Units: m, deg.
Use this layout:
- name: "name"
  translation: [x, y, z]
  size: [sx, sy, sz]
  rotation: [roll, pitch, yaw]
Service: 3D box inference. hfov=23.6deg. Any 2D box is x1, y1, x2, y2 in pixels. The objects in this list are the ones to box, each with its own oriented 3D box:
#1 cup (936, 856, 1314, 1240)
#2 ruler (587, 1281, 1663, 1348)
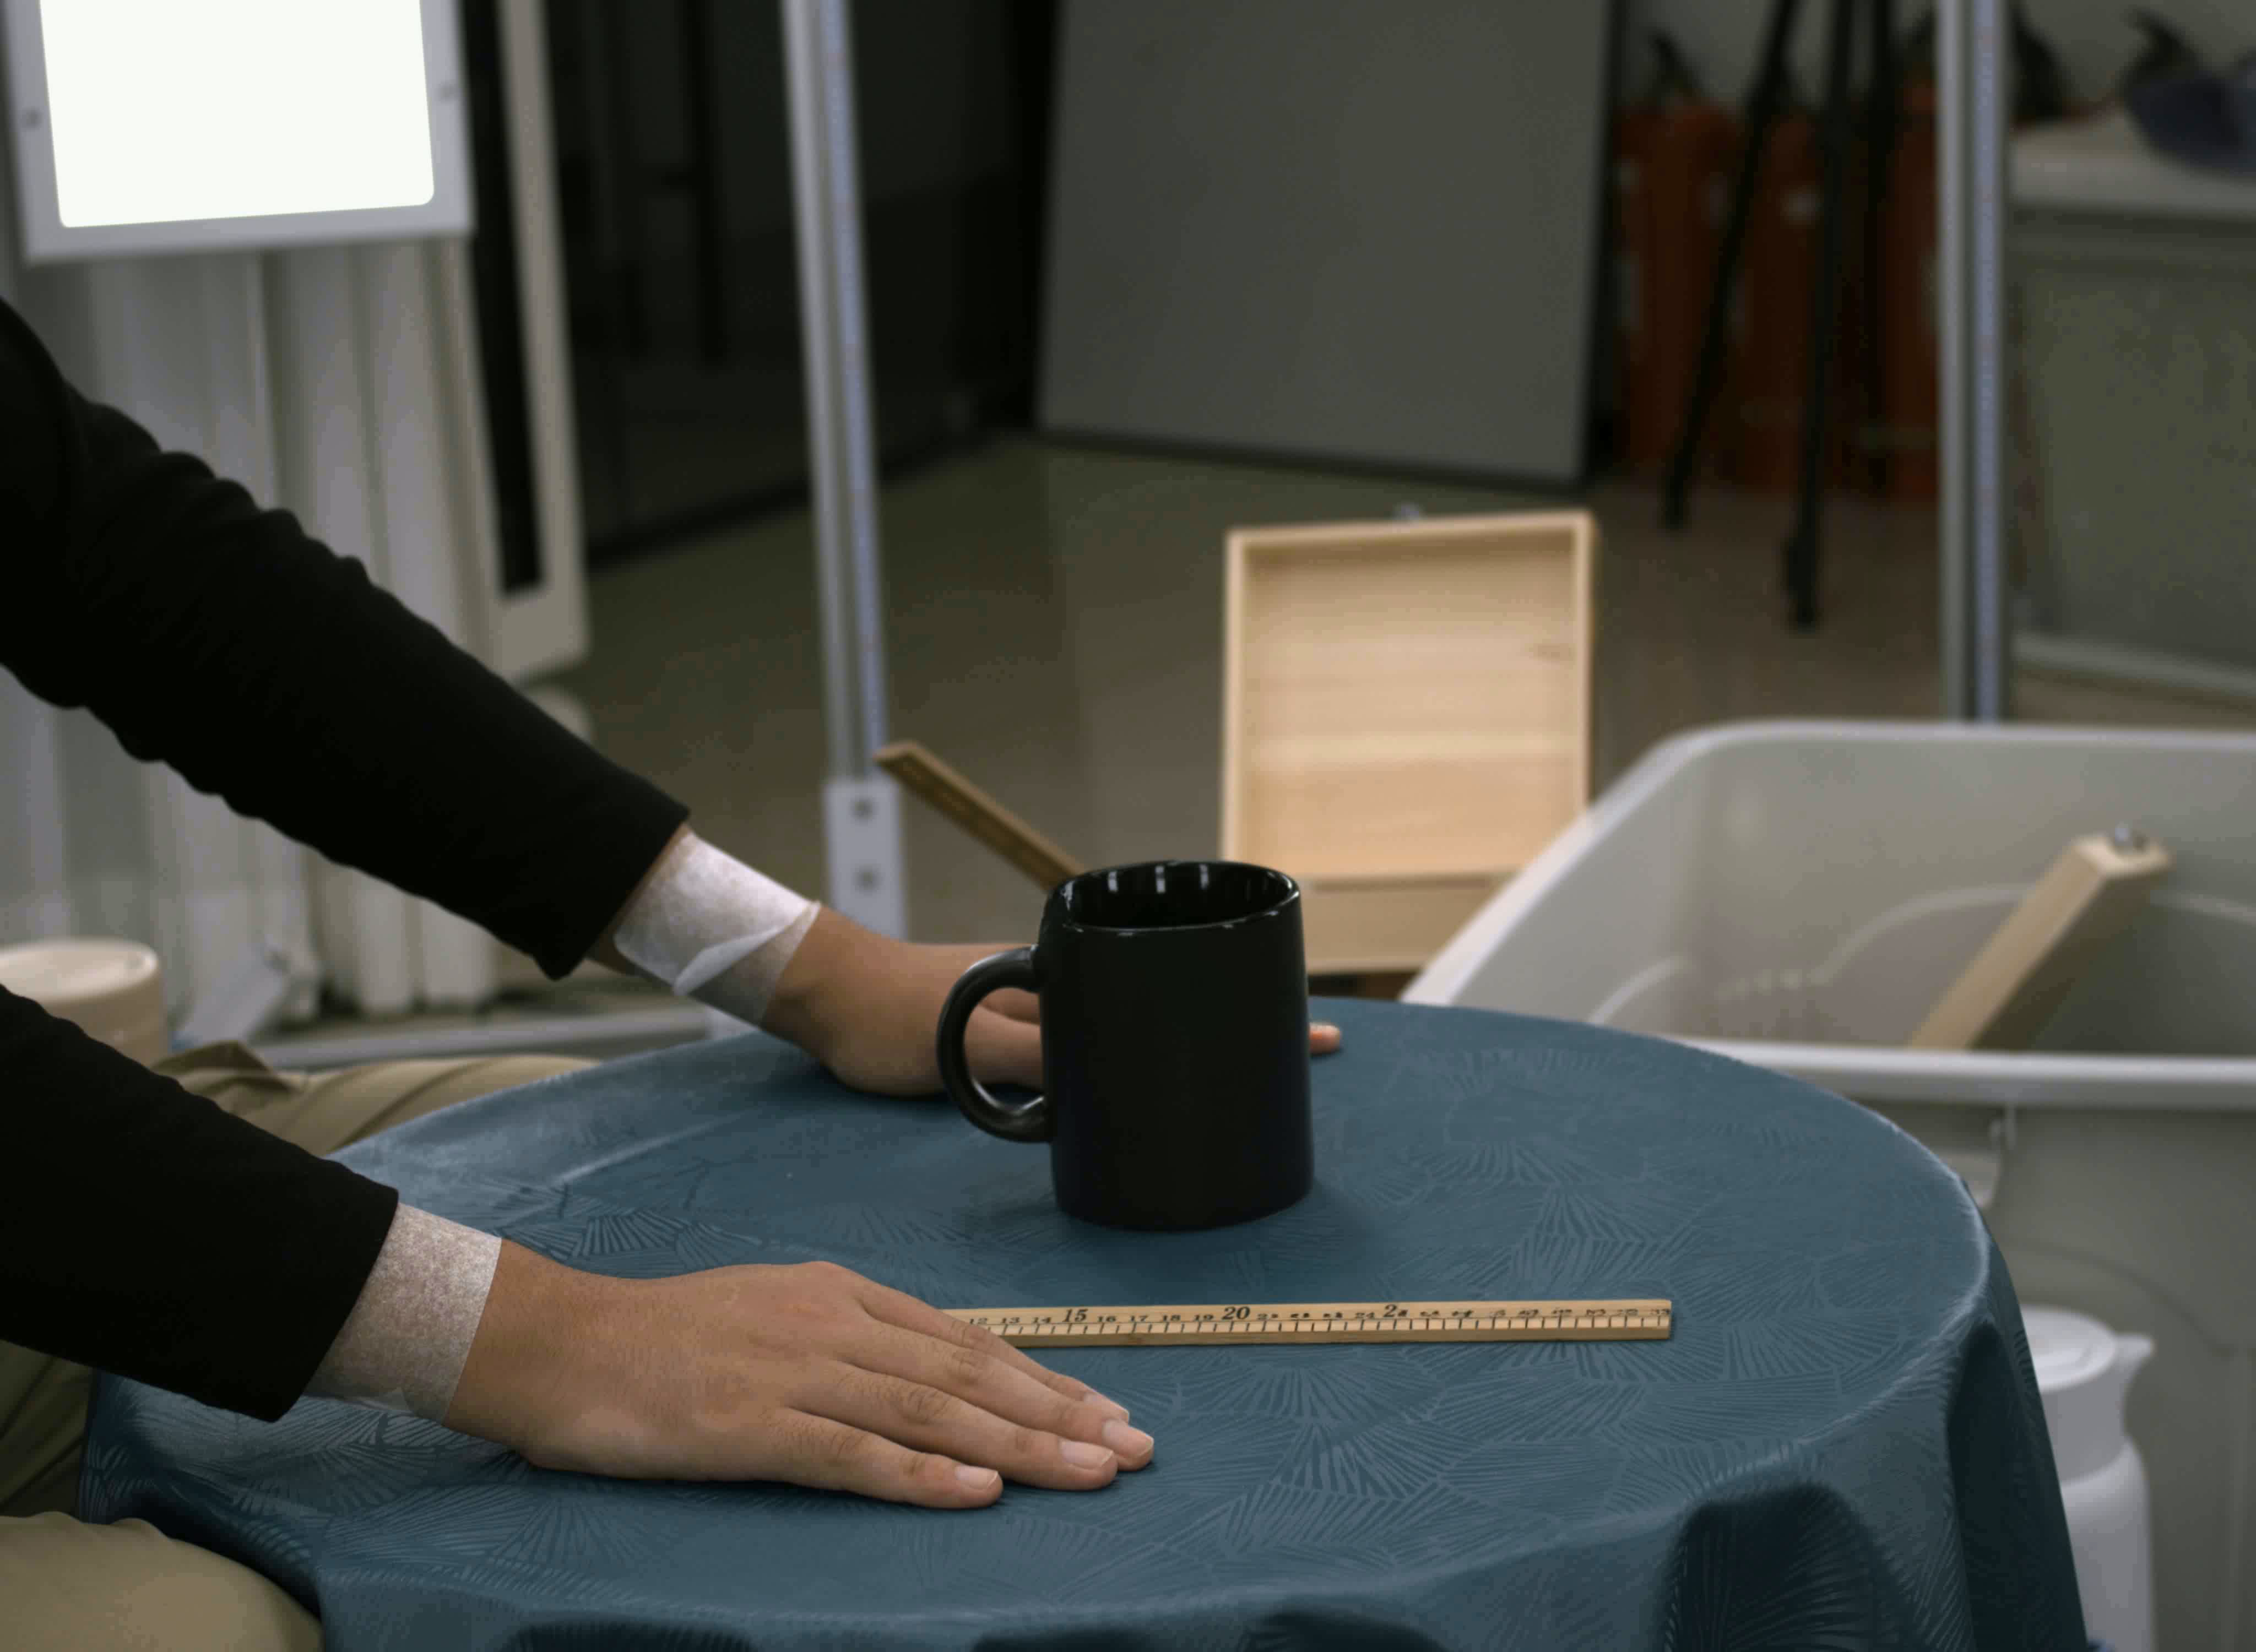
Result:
- name: "cup"
  translation: [-0.002, 0.072, 1.756]
  size: [0.122, 0.106, 0.088]
  rotation: [-3, 15, 9]
- name: "ruler"
  translation: [-0.002, 0.149, 1.635]
  size: [0.329, 0.022, 0.027]
  rotation: [-1, 9, 11]
